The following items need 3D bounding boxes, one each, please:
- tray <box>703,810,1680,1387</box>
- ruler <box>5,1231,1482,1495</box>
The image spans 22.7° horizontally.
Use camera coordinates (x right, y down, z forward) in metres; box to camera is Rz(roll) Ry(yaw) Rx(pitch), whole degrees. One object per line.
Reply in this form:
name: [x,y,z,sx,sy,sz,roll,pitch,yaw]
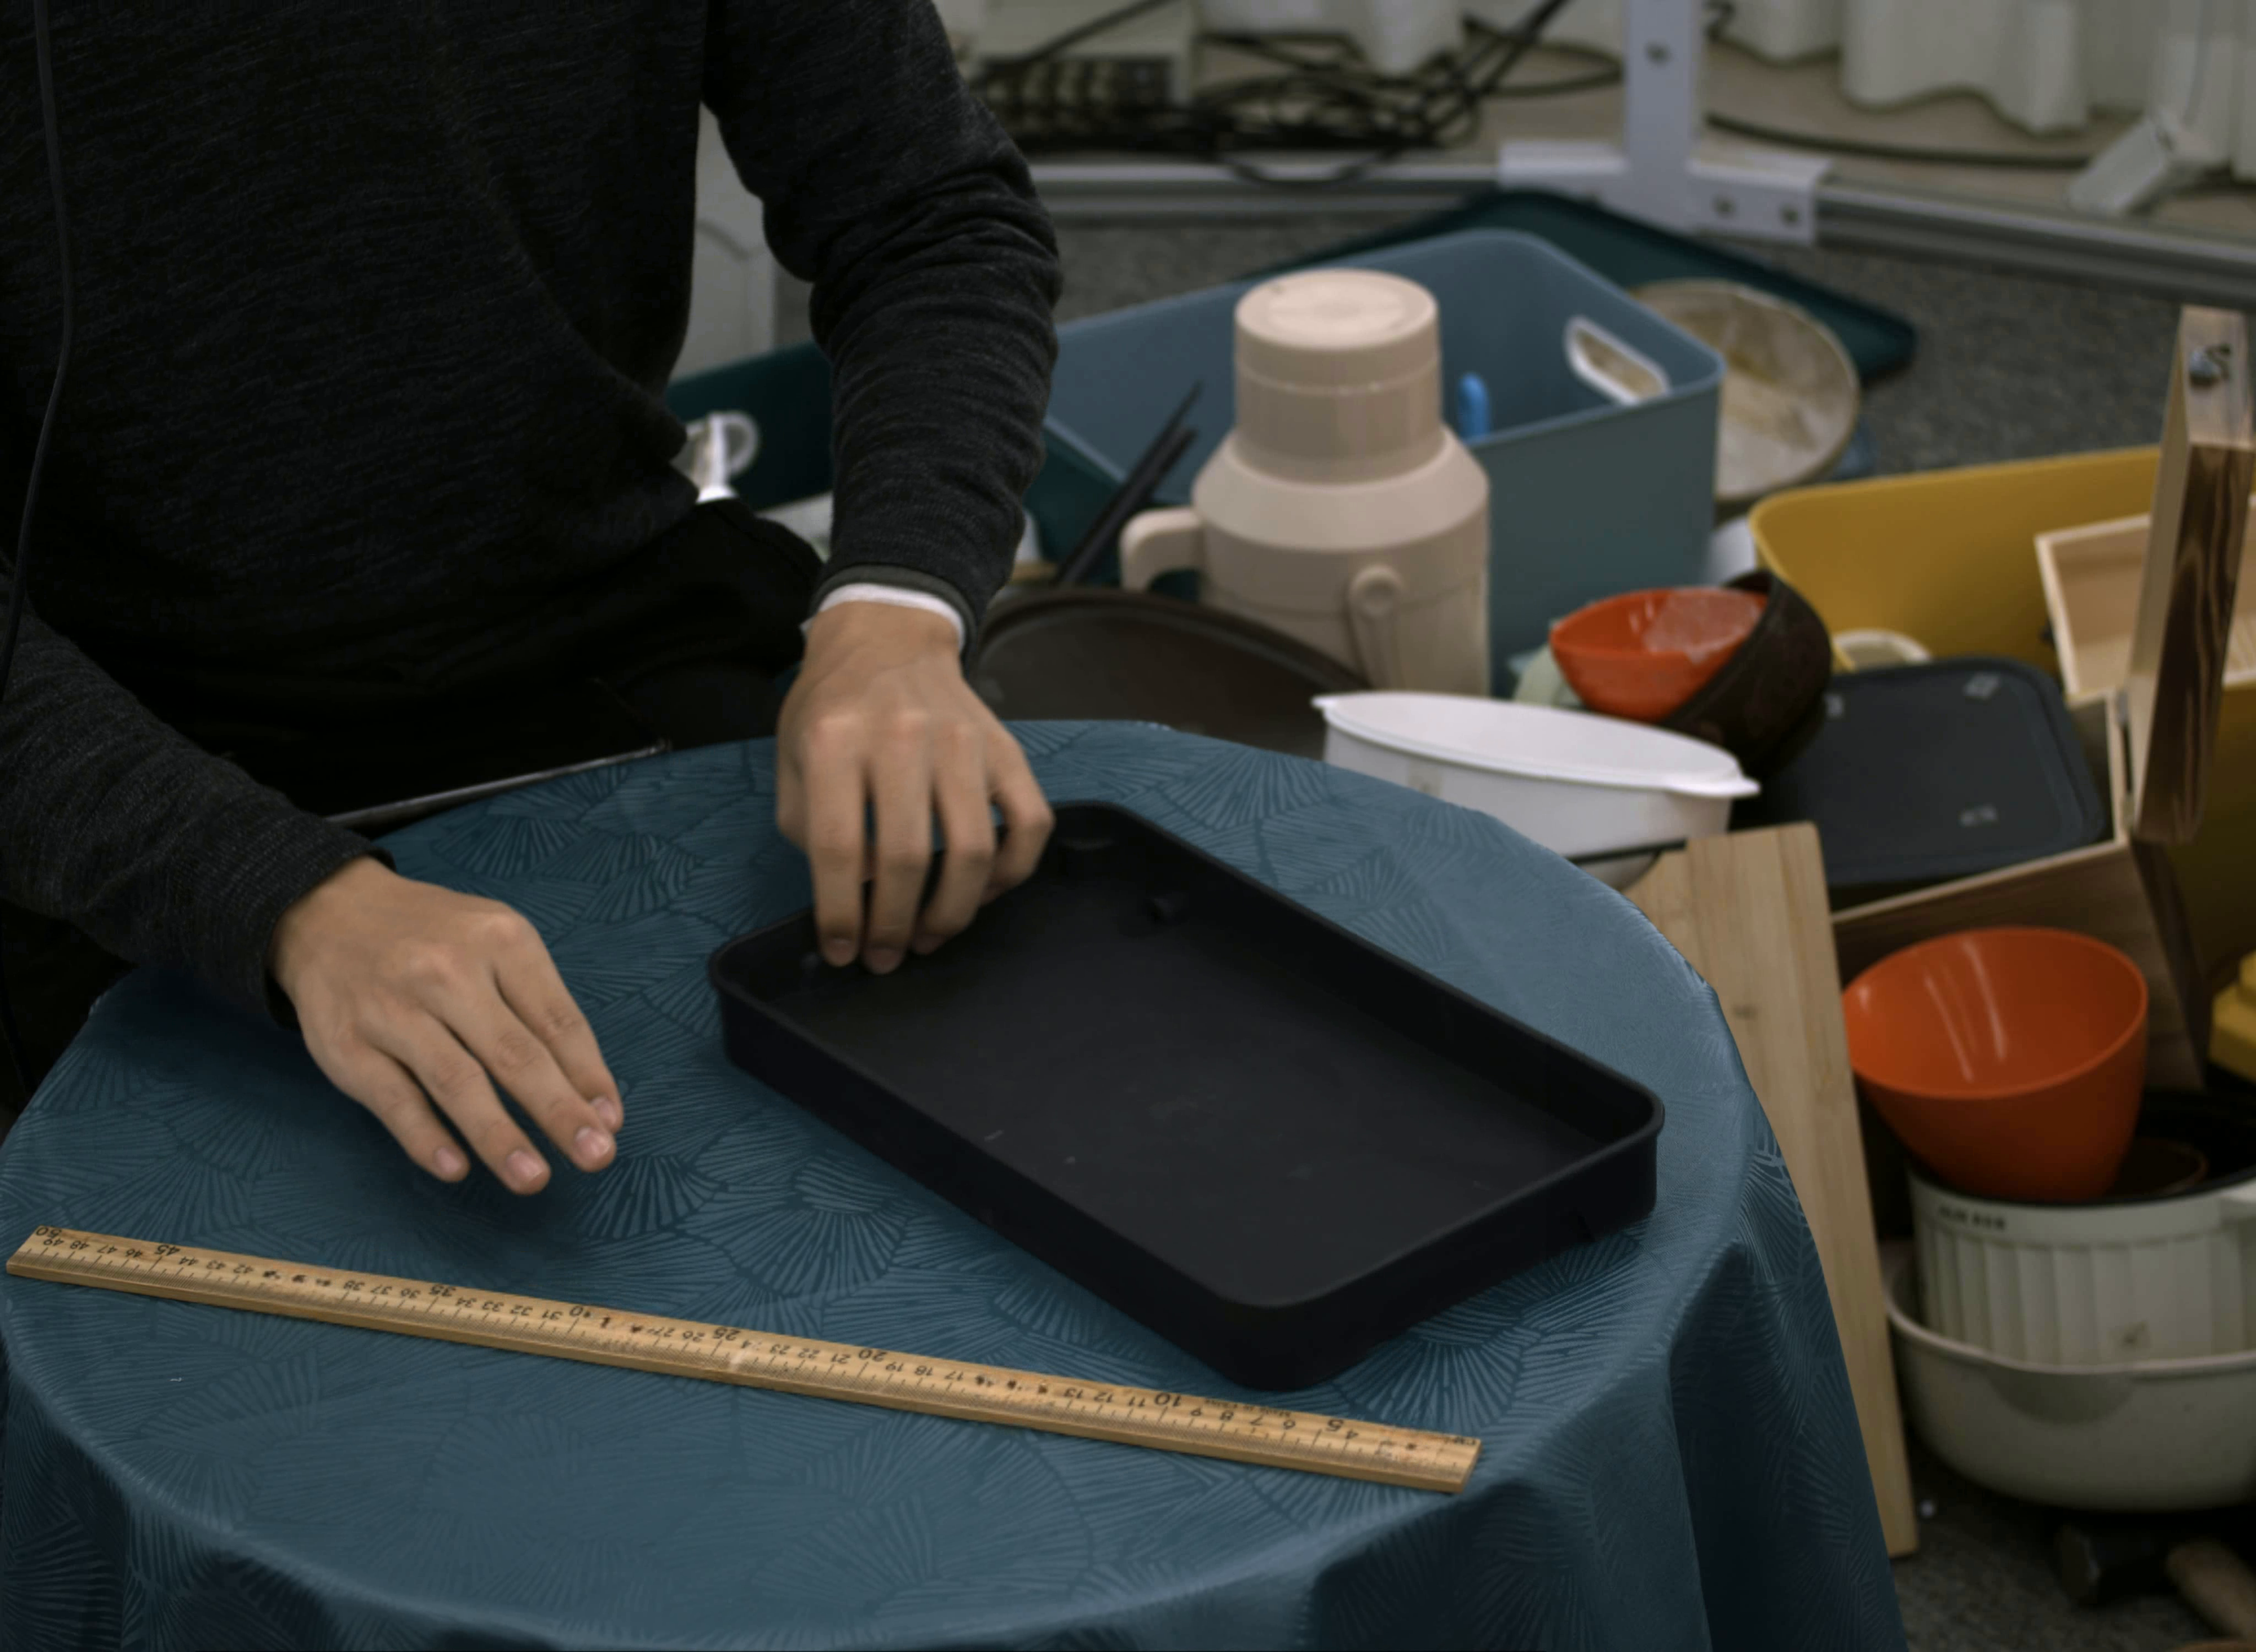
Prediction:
tray: [0.017,0.086,1.891,0.186,0.036,0.318,-24,33,-35]
ruler: [-0.130,0.168,1.779,0.497,0.006,0.027,7,26,18]
